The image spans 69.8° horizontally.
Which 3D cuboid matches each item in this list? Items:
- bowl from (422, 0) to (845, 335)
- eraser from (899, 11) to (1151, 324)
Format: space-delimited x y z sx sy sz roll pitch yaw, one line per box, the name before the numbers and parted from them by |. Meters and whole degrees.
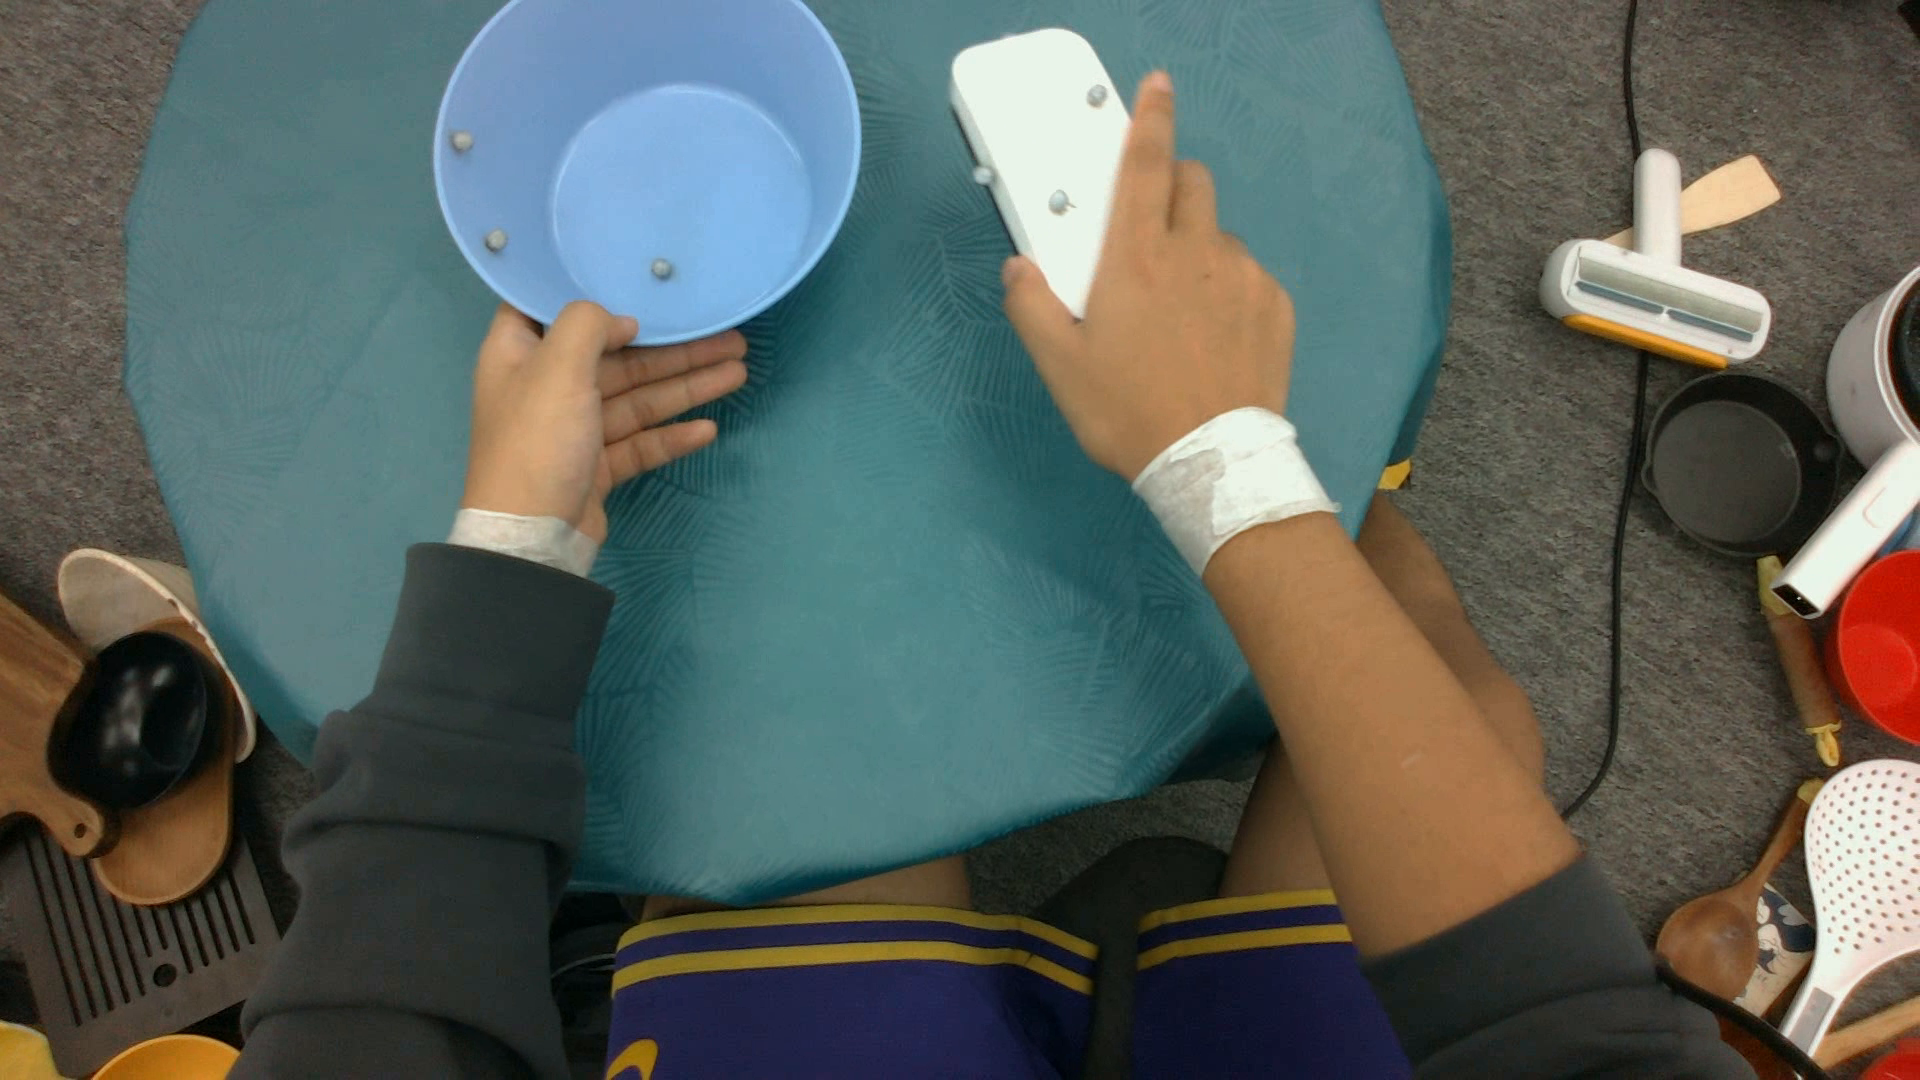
bowl | -0.134 -0.162 0.599 0.176 0.070 0.176 0 78 1
eraser | 0.023 -0.151 0.552 0.063 0.034 0.131 -21 77 -18
